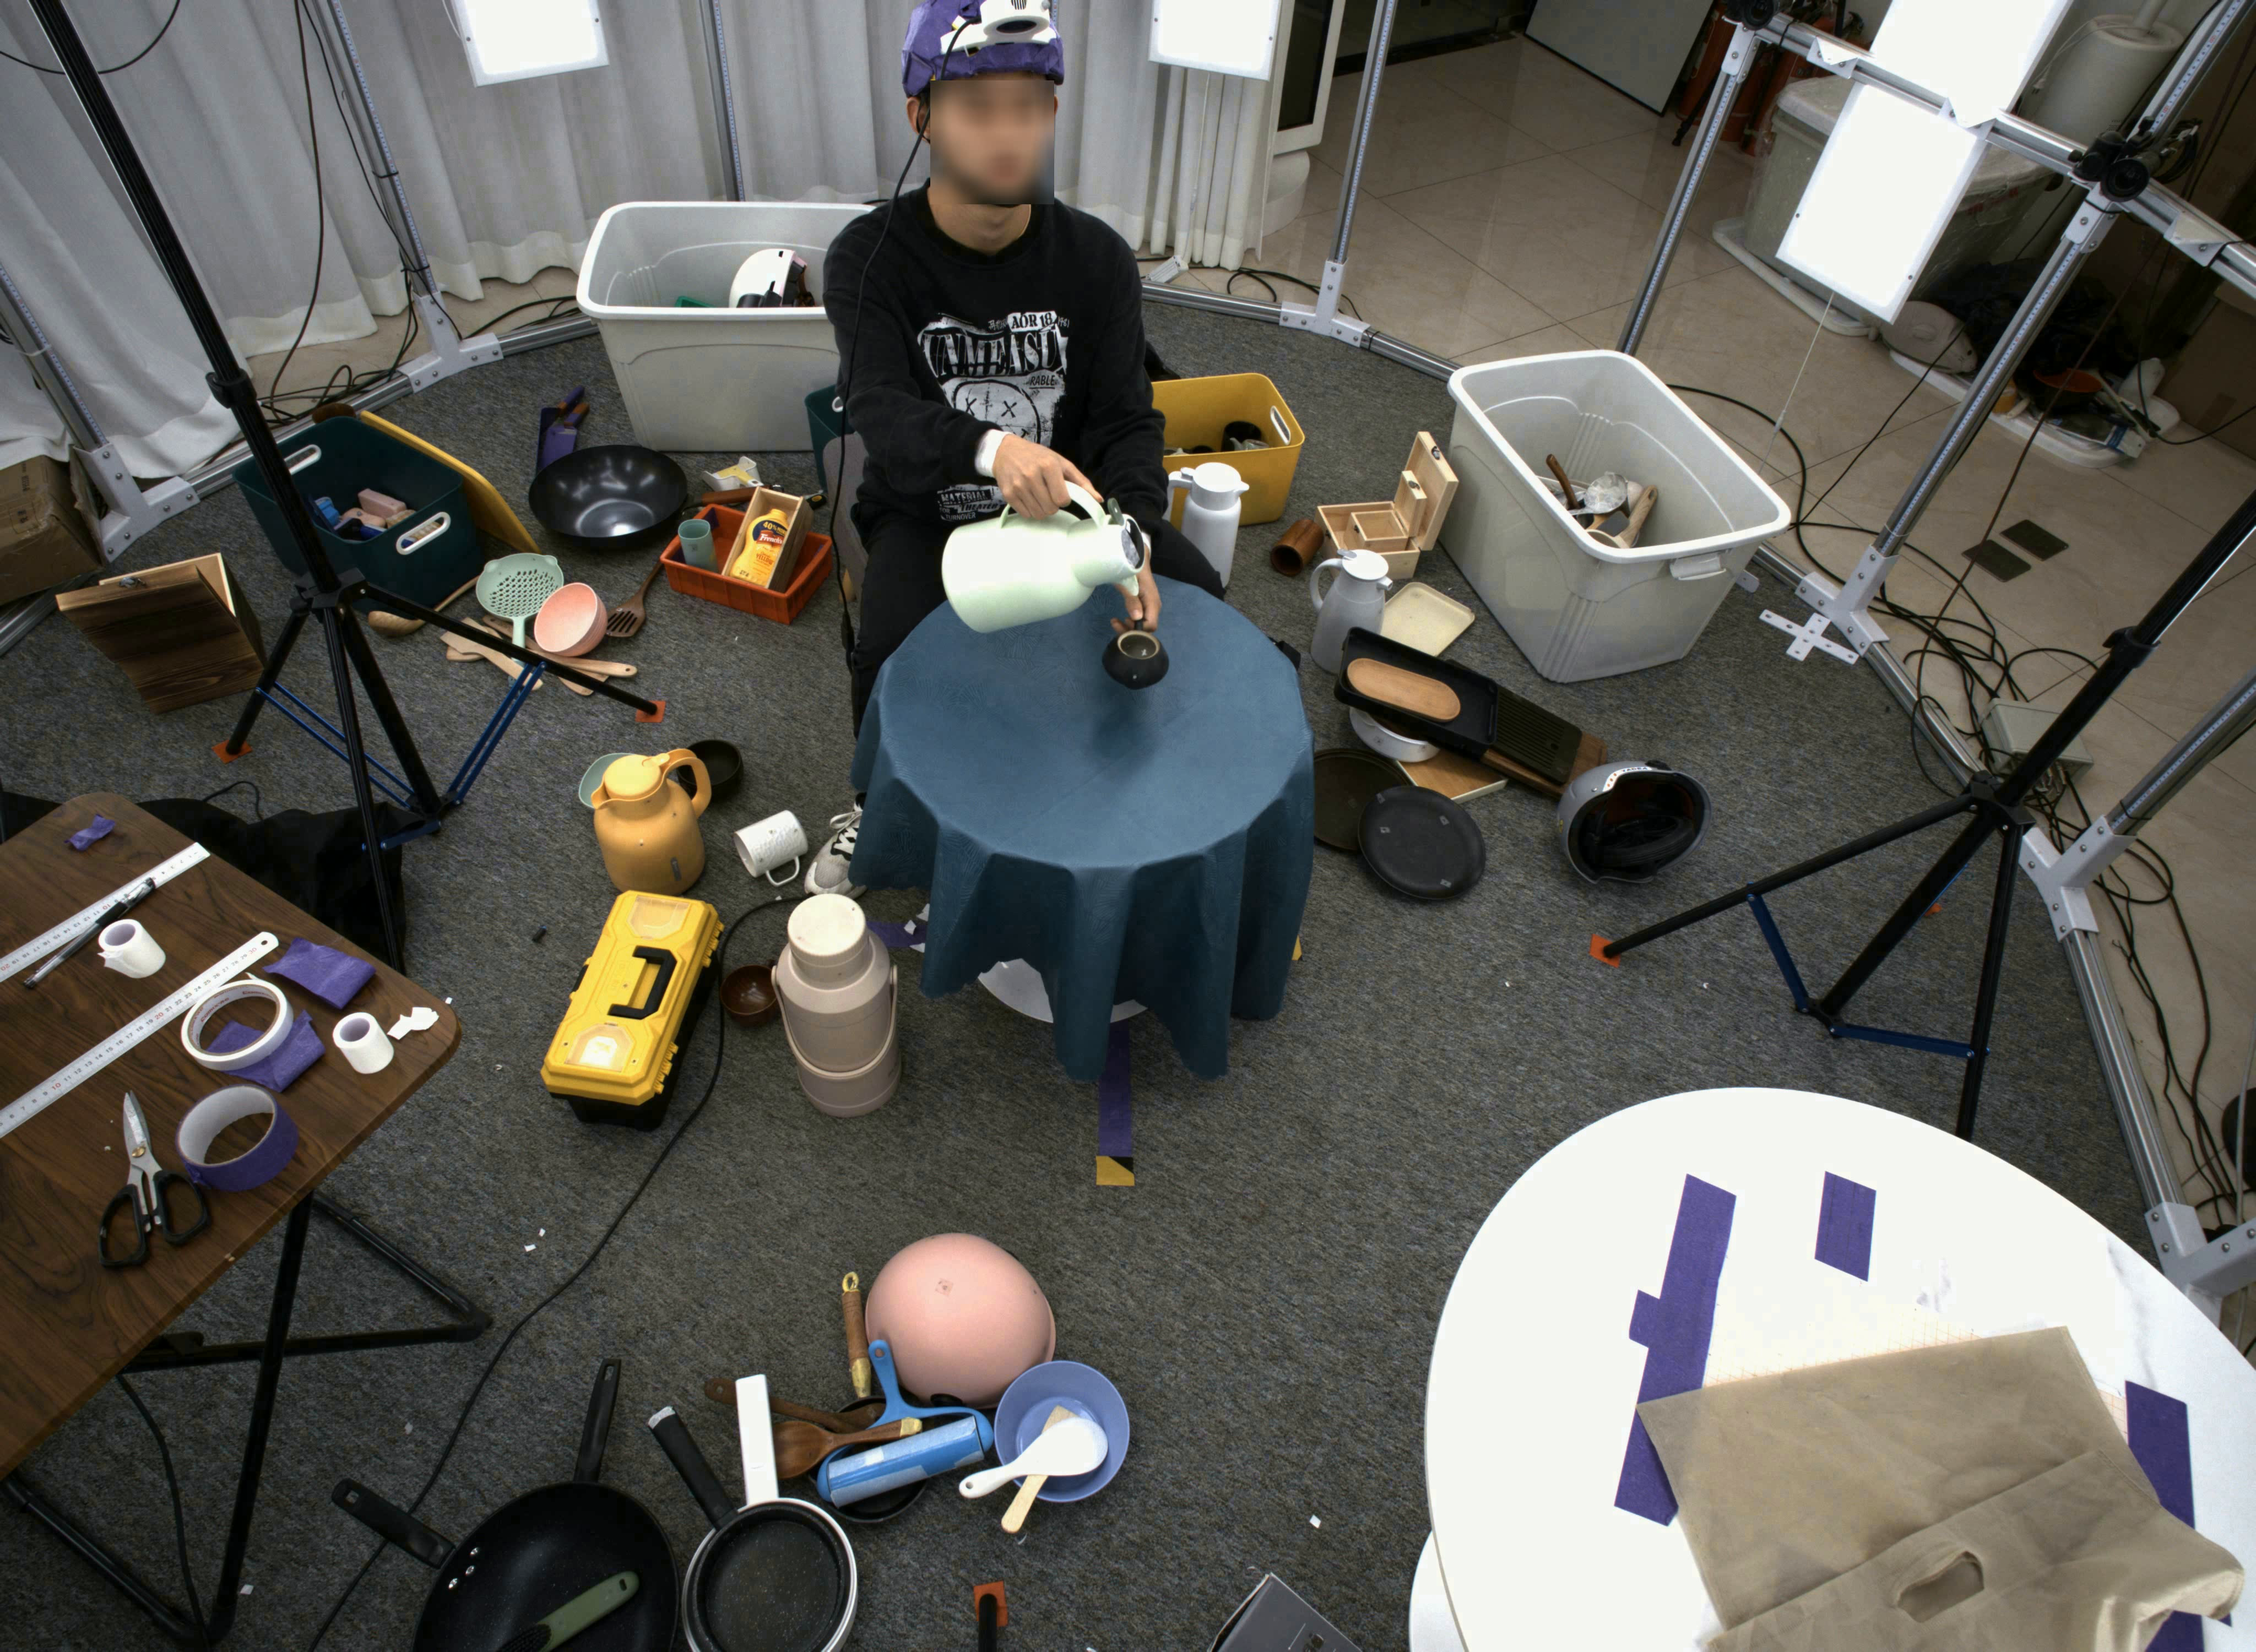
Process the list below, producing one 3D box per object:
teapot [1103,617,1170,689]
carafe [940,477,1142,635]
[{"bbox_3d":[0.012,-0.228,1.744,0.091,0.052,0.136,7,49,-4],"label":"teapot"},{"bbox_3d":[-0.113,-0.350,1.659,0.256,0.183,0.147,-11,39,31],"label":"carafe"}]
